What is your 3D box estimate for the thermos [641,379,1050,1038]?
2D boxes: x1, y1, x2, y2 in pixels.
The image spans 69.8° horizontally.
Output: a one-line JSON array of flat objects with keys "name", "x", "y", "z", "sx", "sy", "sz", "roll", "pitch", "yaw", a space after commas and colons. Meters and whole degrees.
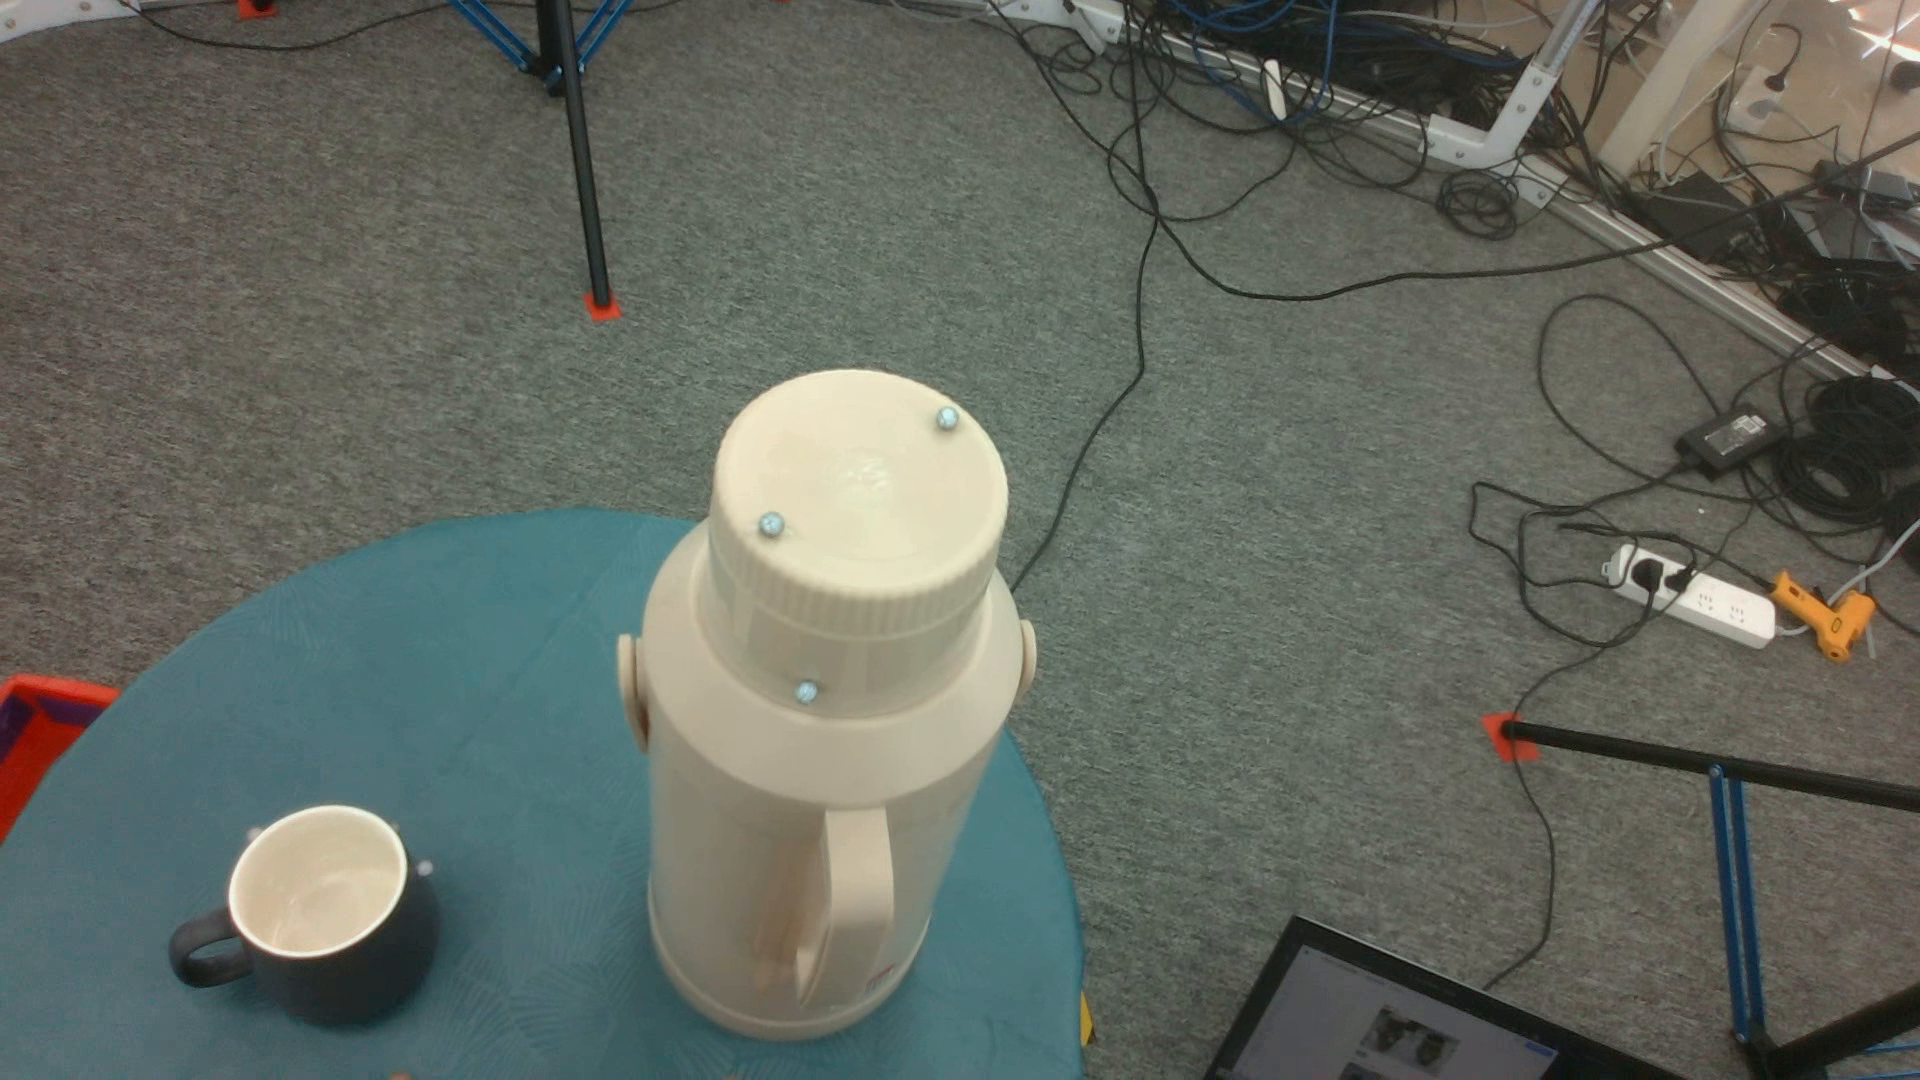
[{"name": "thermos", "x": -0.055, "y": 0.109, "z": 0.648, "sx": 0.175, "sy": 0.404, "sz": 0.208, "roll": -4, "pitch": 54, "yaw": -13}]

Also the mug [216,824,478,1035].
[{"name": "mug", "x": -0.321, "y": 0.208, "z": 0.720, "sx": 0.123, "sy": 0.089, "sz": 0.094, "roll": -15, "pitch": 58, "yaw": -20}]
